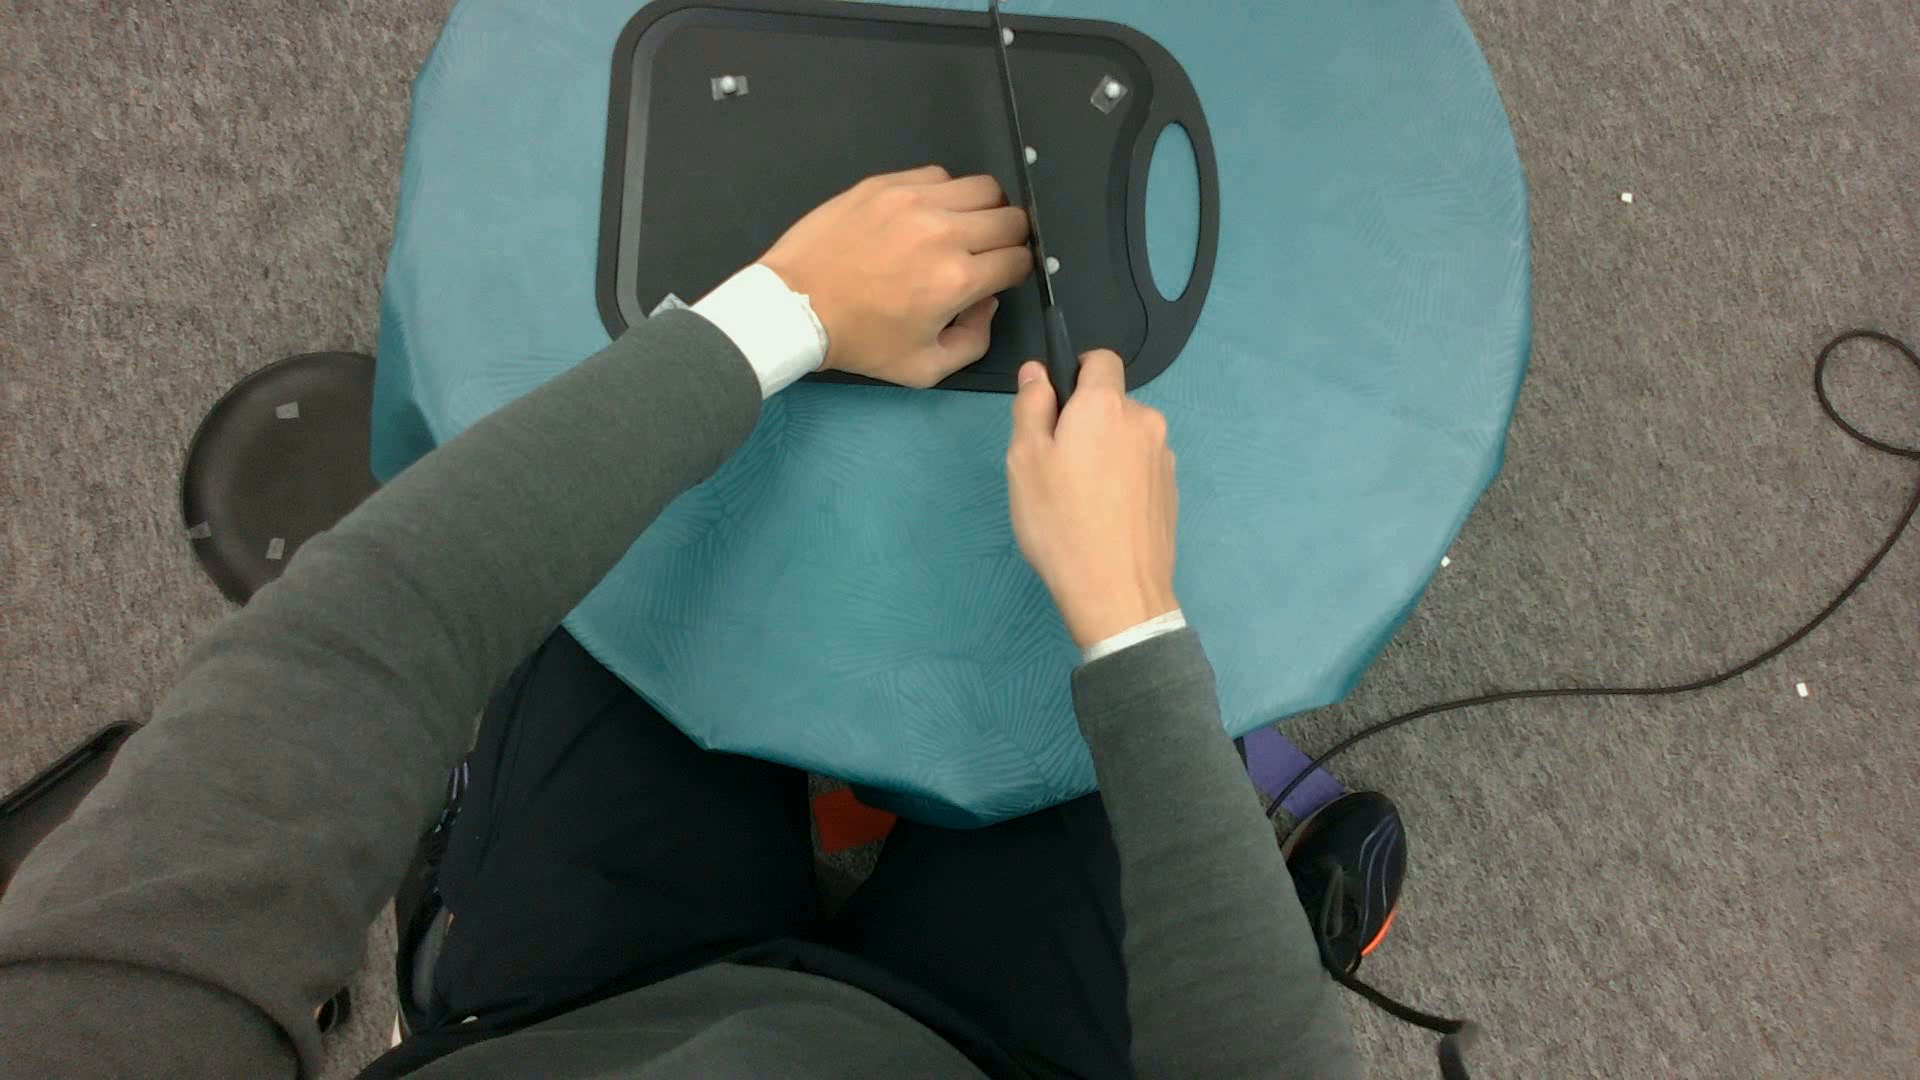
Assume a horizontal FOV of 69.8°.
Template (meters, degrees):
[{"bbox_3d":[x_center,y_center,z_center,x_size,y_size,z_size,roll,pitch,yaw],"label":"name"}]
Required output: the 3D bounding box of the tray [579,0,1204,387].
[{"bbox_3d":[-0.030,-0.190,0.725,0.325,0.010,0.211,3,82,-4],"label":"tray"}]

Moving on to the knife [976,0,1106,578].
[{"bbox_3d":[0.034,-0.131,0.666,0.021,0.081,0.303,-10,79,1],"label":"knife"}]
